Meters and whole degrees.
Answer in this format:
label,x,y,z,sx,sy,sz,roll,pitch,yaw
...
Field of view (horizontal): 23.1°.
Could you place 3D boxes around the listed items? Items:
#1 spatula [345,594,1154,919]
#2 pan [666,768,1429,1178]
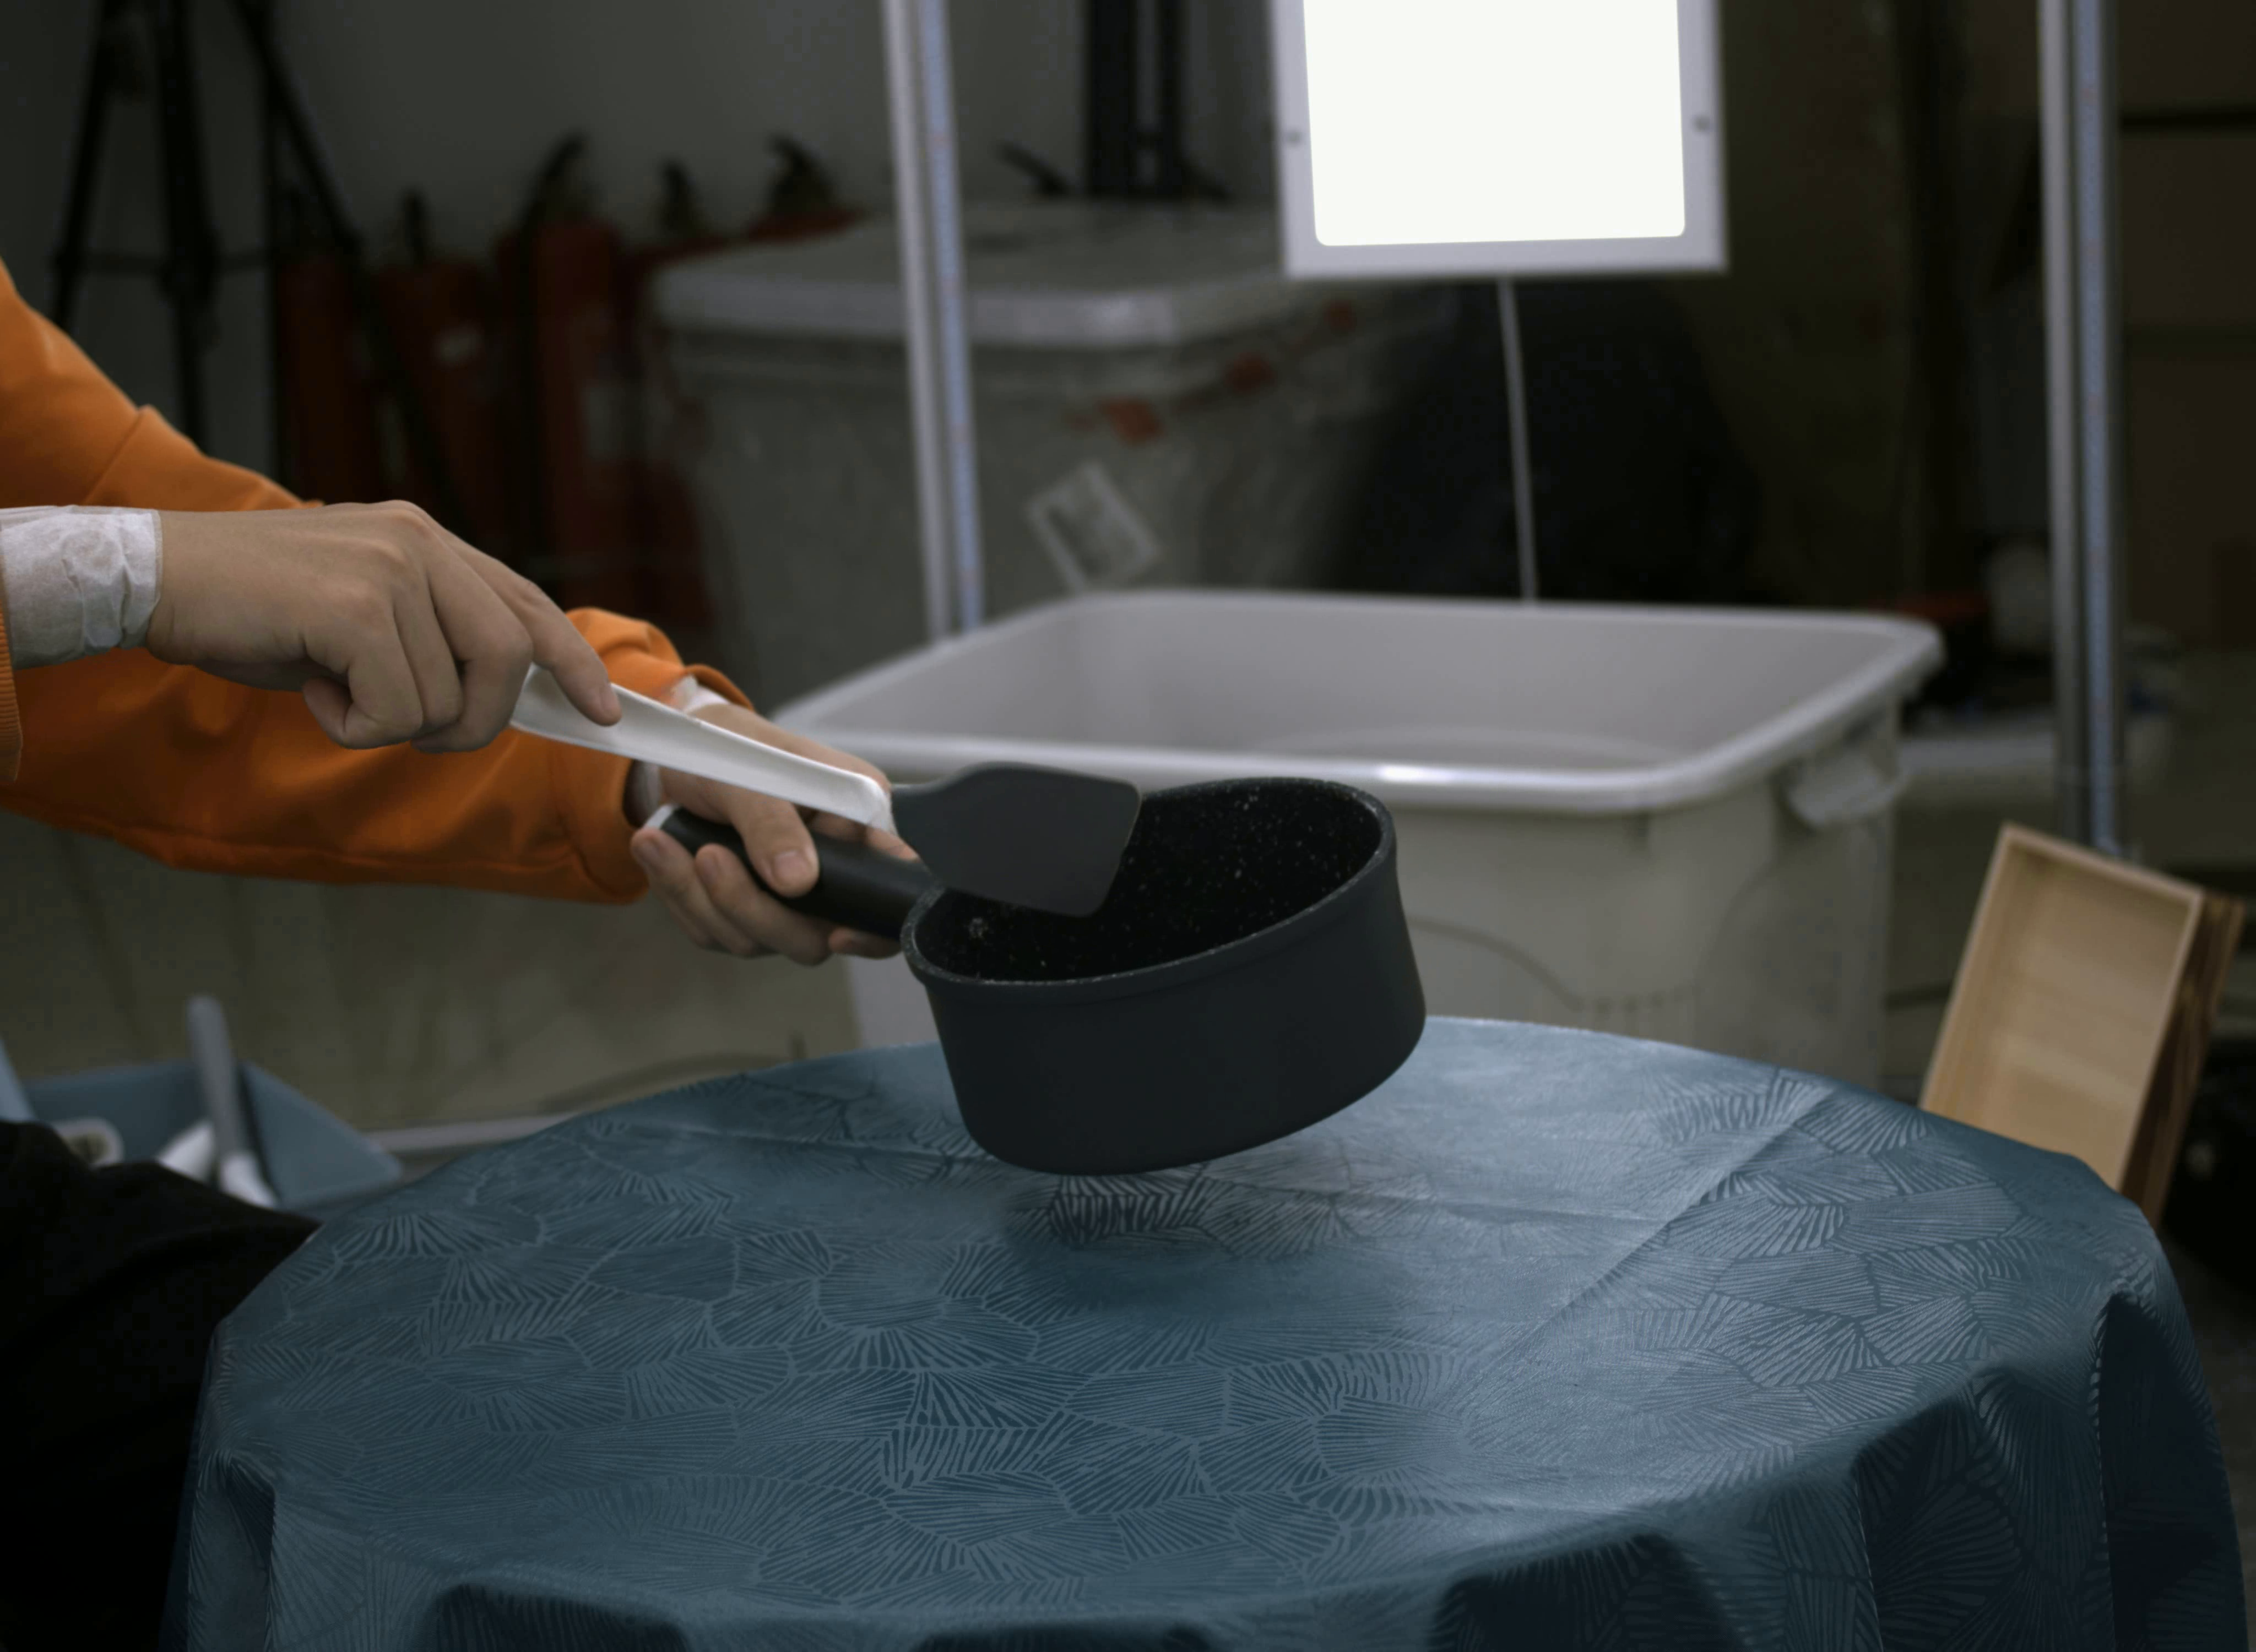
label,x,y,z,sx,sy,sz,roll,pitch,yaw
spatula,-0.122,-0.023,1.837,0.283,0.059,0.032,16,11,-21
pan,-0.041,0.041,1.921,0.168,0.086,0.336,-30,25,-37
